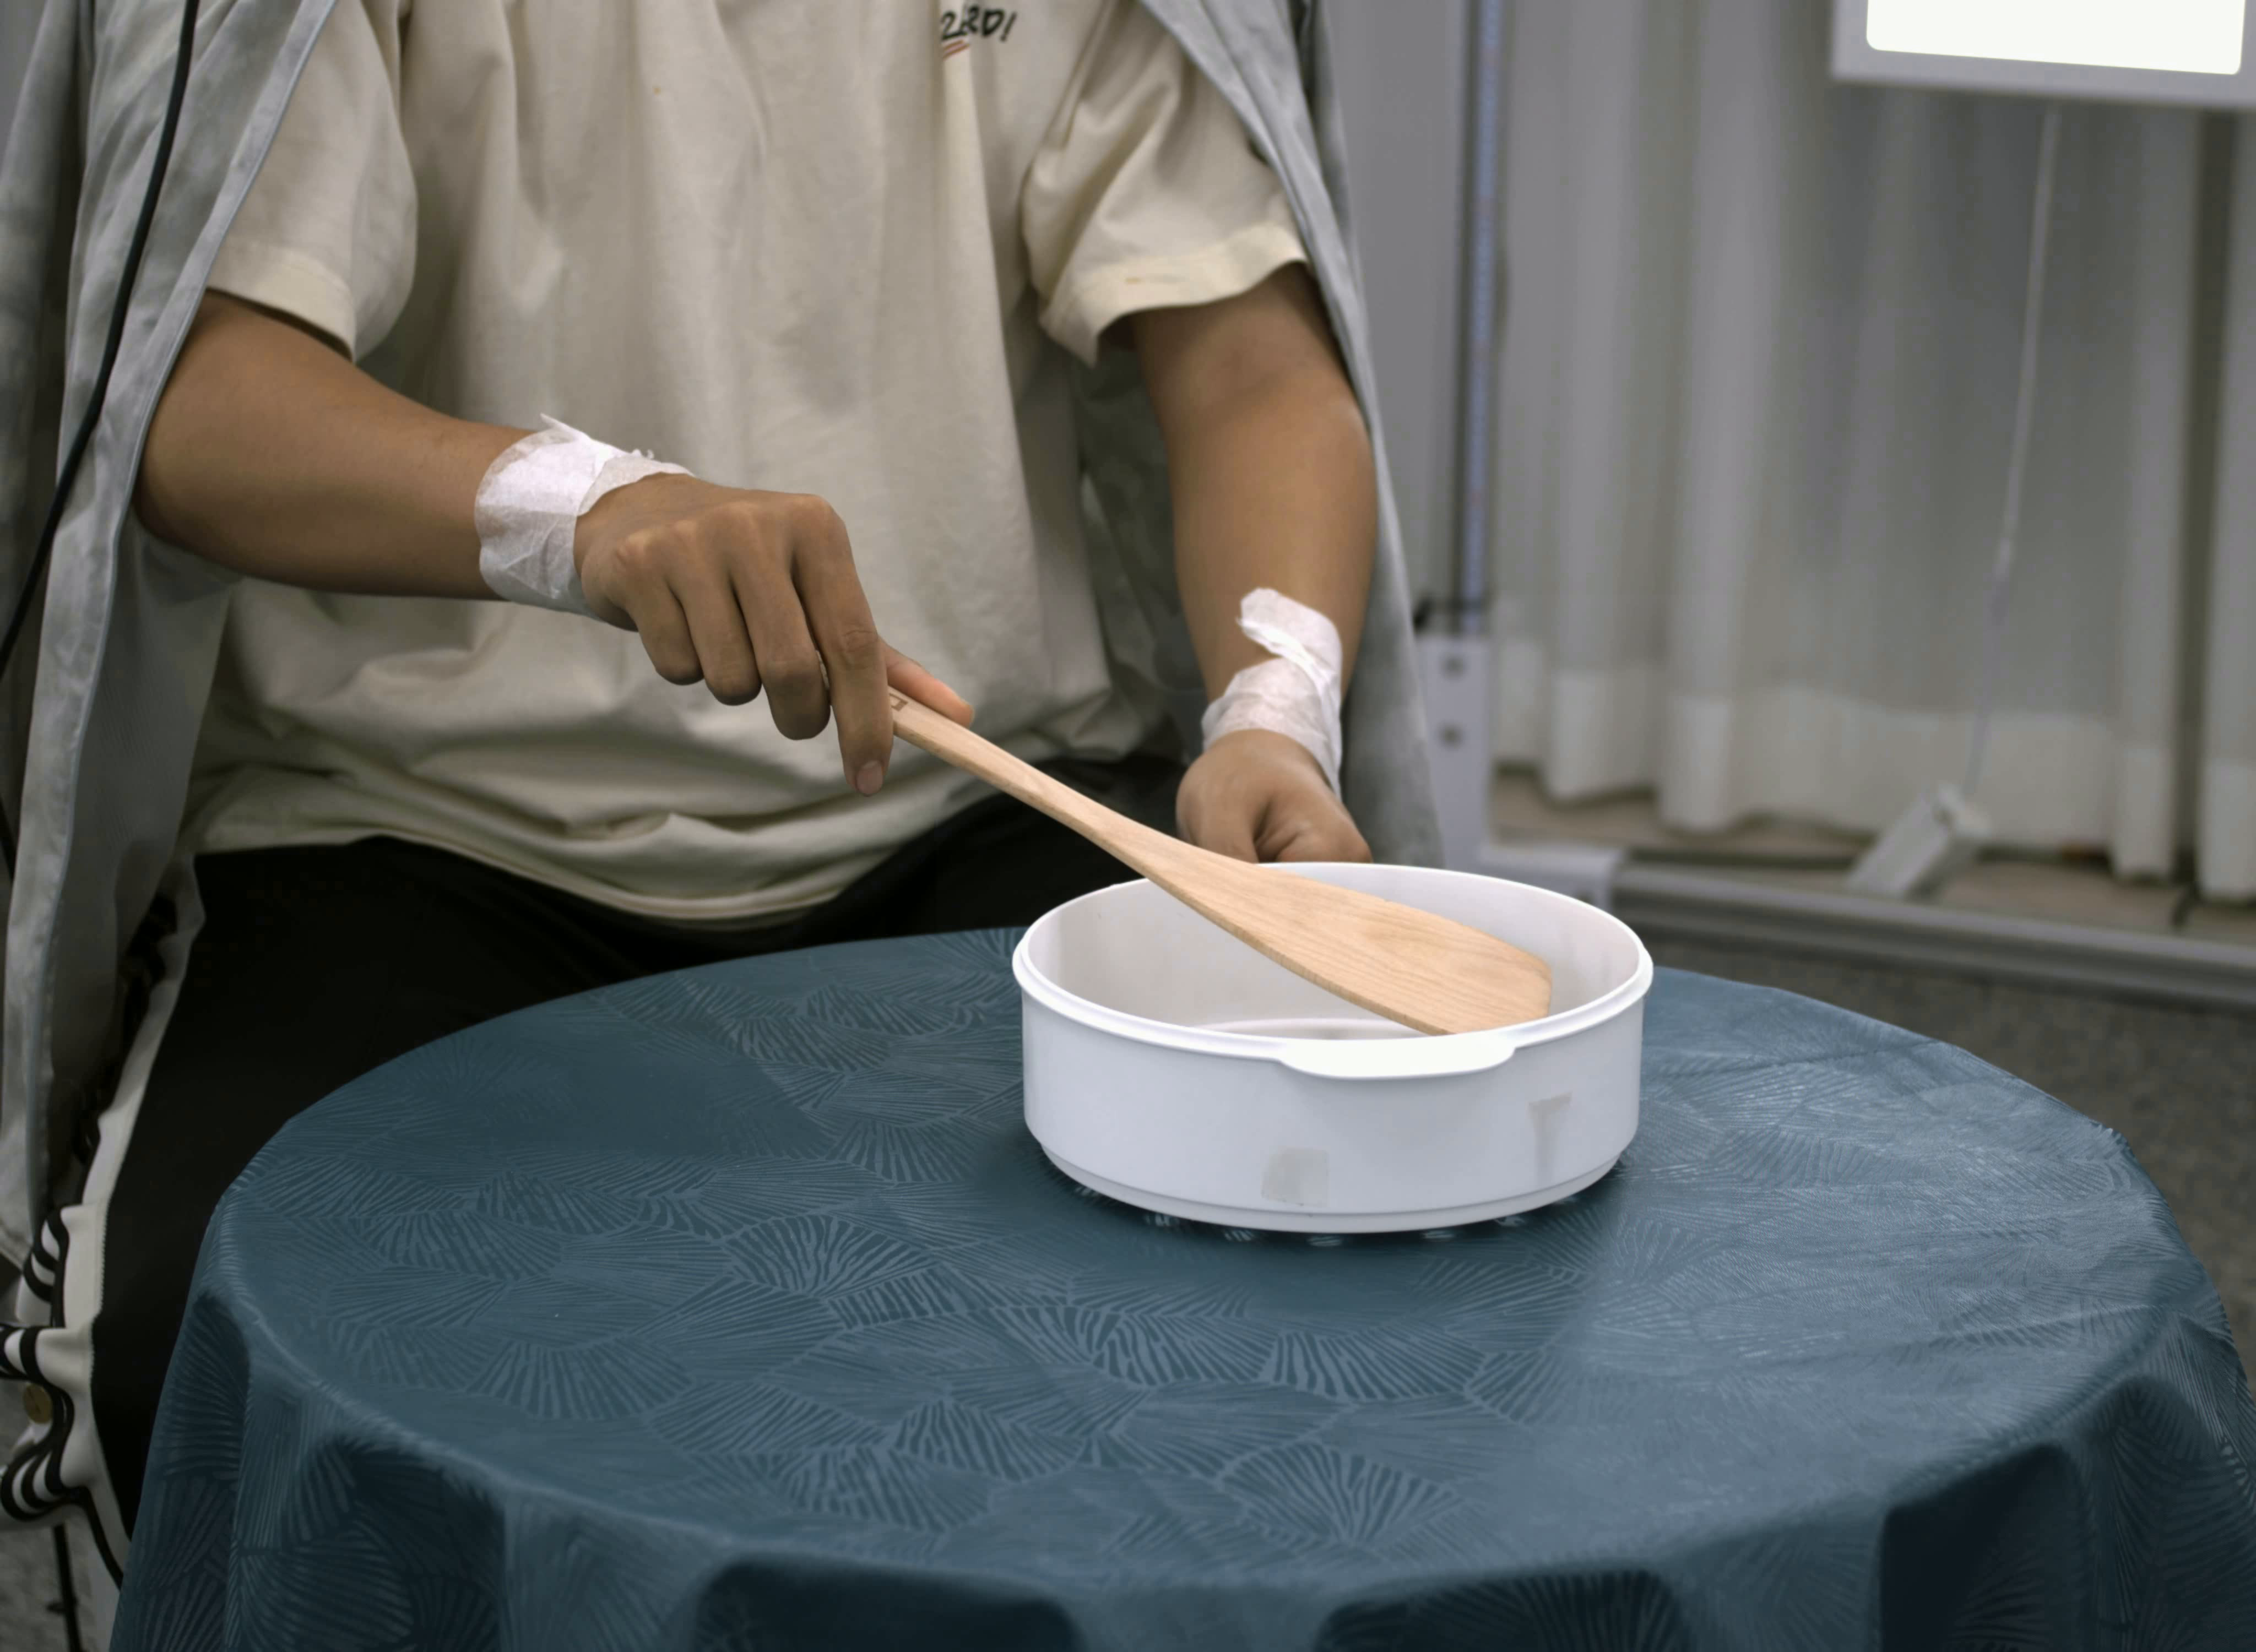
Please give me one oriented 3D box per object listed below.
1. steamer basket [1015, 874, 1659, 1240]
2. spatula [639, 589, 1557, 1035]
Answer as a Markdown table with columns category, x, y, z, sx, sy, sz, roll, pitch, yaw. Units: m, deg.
| category | x | y | z | sx | sy | sz | roll | pitch | yaw |
| --- | --- | --- | --- | --- | --- | --- | --- | --- | --- |
| steamer basket | 0.064 | 0.072 | 1.652 | 0.202 | 0.070 | 0.228 | -1 | 15 | -10 |
| spatula | -0.009 | -0.007 | 1.679 | 0.326 | 0.016 | 0.080 | 26 | 25 | 6 |
